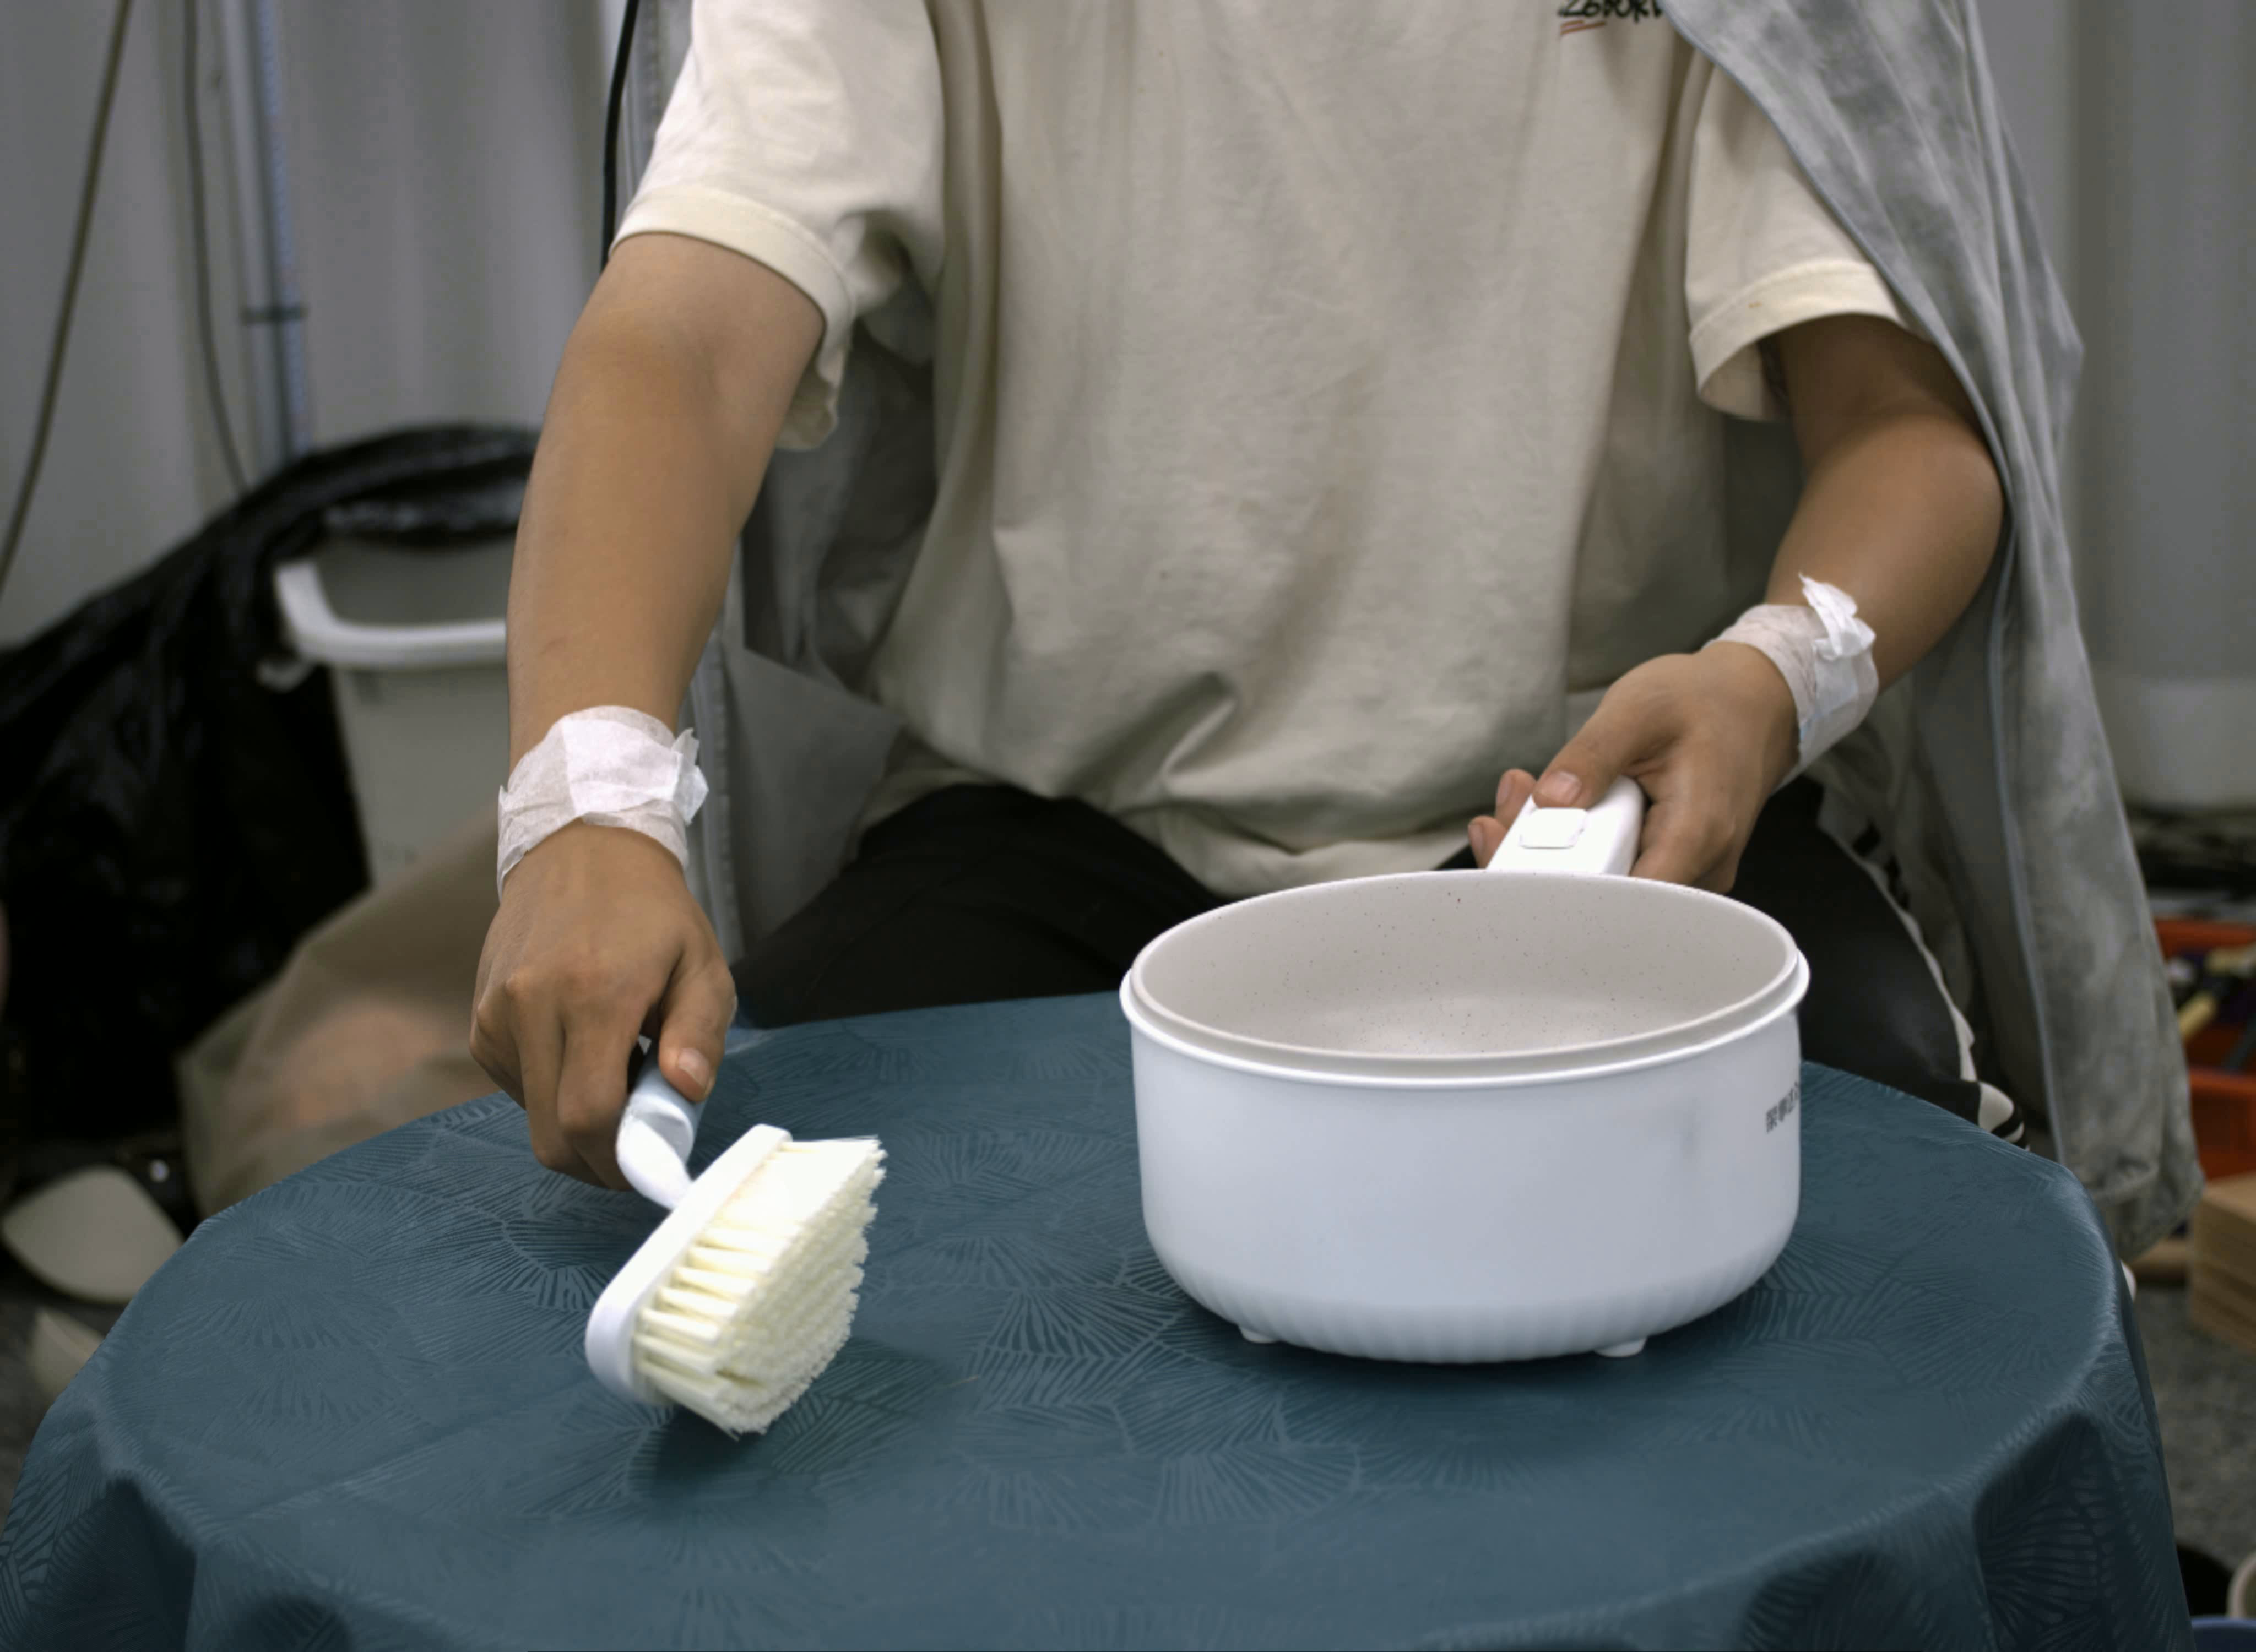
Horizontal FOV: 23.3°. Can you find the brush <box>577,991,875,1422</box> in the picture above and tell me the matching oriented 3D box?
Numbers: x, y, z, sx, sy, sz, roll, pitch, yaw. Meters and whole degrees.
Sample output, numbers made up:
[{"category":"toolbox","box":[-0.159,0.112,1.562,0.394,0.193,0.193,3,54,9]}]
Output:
[{"category":"brush","box":[-0.107,0.103,1.644,0.083,0.084,0.327,-41,9,10]}]

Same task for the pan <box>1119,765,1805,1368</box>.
[{"category":"pan","box":[0.117,0.069,1.681,0.201,0.102,0.356,0,14,14]}]
